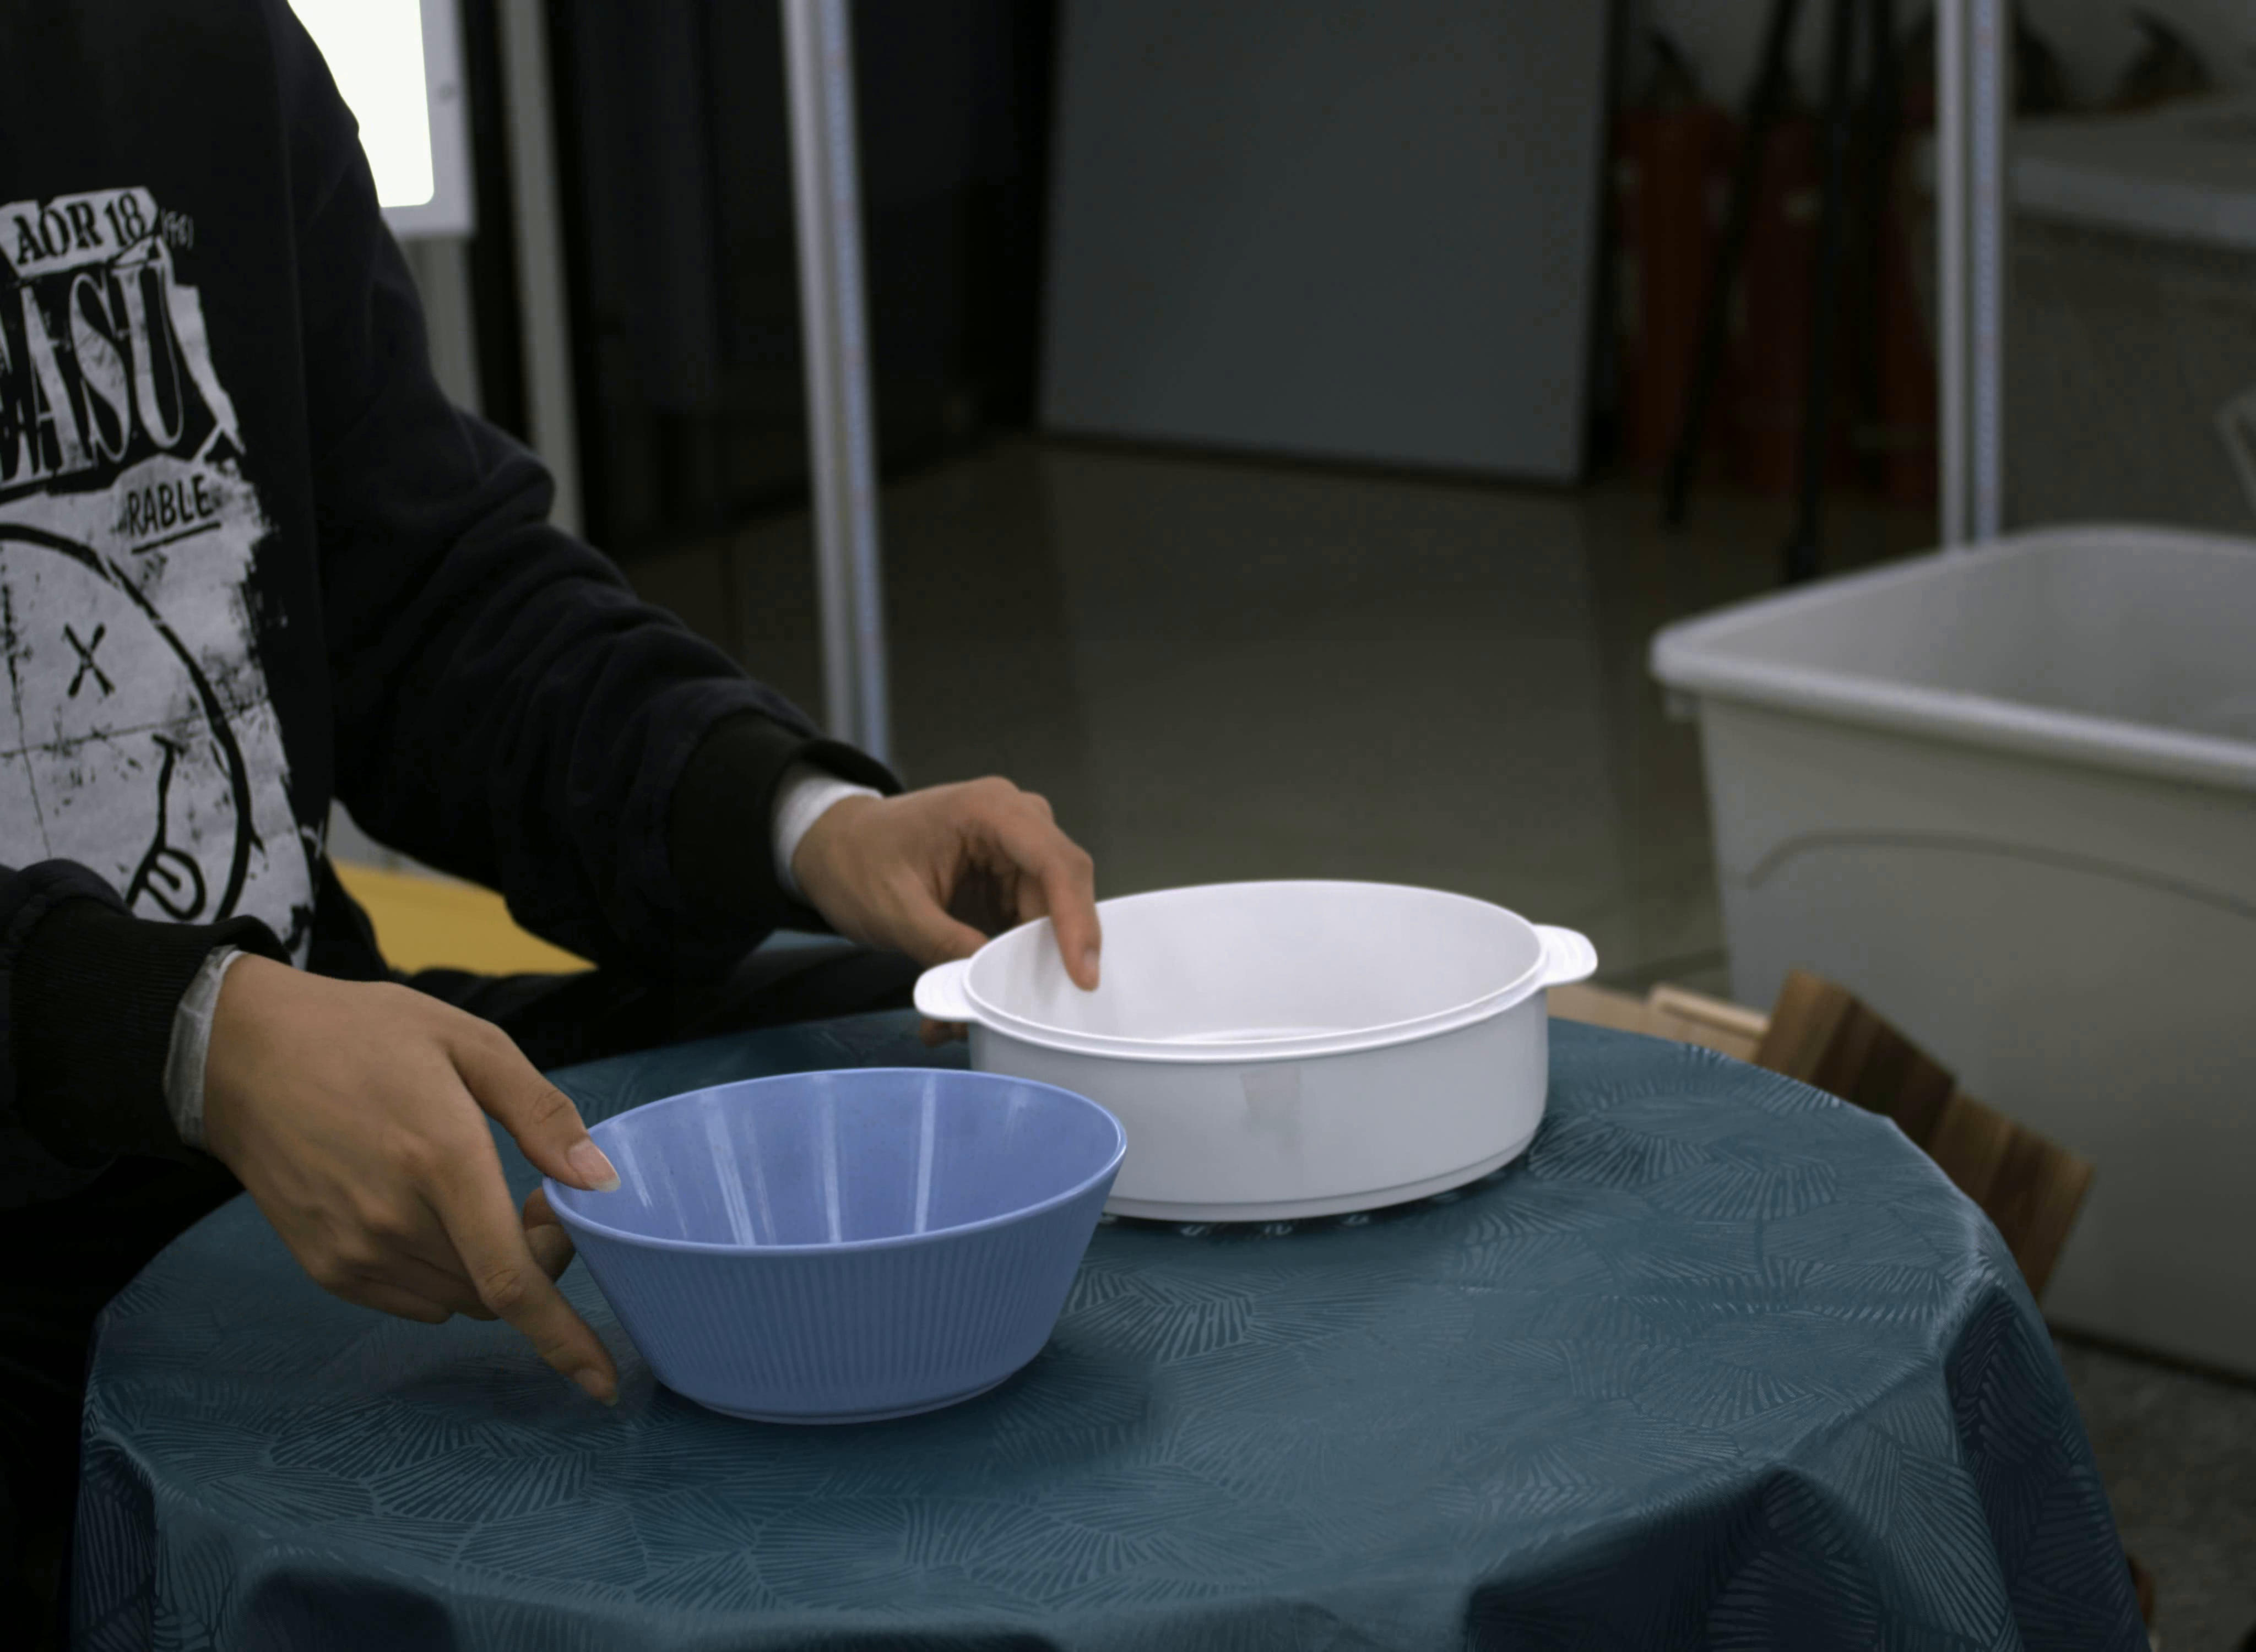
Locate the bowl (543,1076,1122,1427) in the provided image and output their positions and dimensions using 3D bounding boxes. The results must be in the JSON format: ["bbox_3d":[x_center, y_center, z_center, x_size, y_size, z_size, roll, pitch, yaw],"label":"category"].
[{"bbox_3d":[-0.086,0.129,1.615,0.174,0.071,0.176,-4,13,0],"label":"bowl"}]

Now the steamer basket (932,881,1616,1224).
[{"bbox_3d":[0.049,0.075,1.799,0.227,0.070,0.202,-2,14,0],"label":"steamer basket"}]
